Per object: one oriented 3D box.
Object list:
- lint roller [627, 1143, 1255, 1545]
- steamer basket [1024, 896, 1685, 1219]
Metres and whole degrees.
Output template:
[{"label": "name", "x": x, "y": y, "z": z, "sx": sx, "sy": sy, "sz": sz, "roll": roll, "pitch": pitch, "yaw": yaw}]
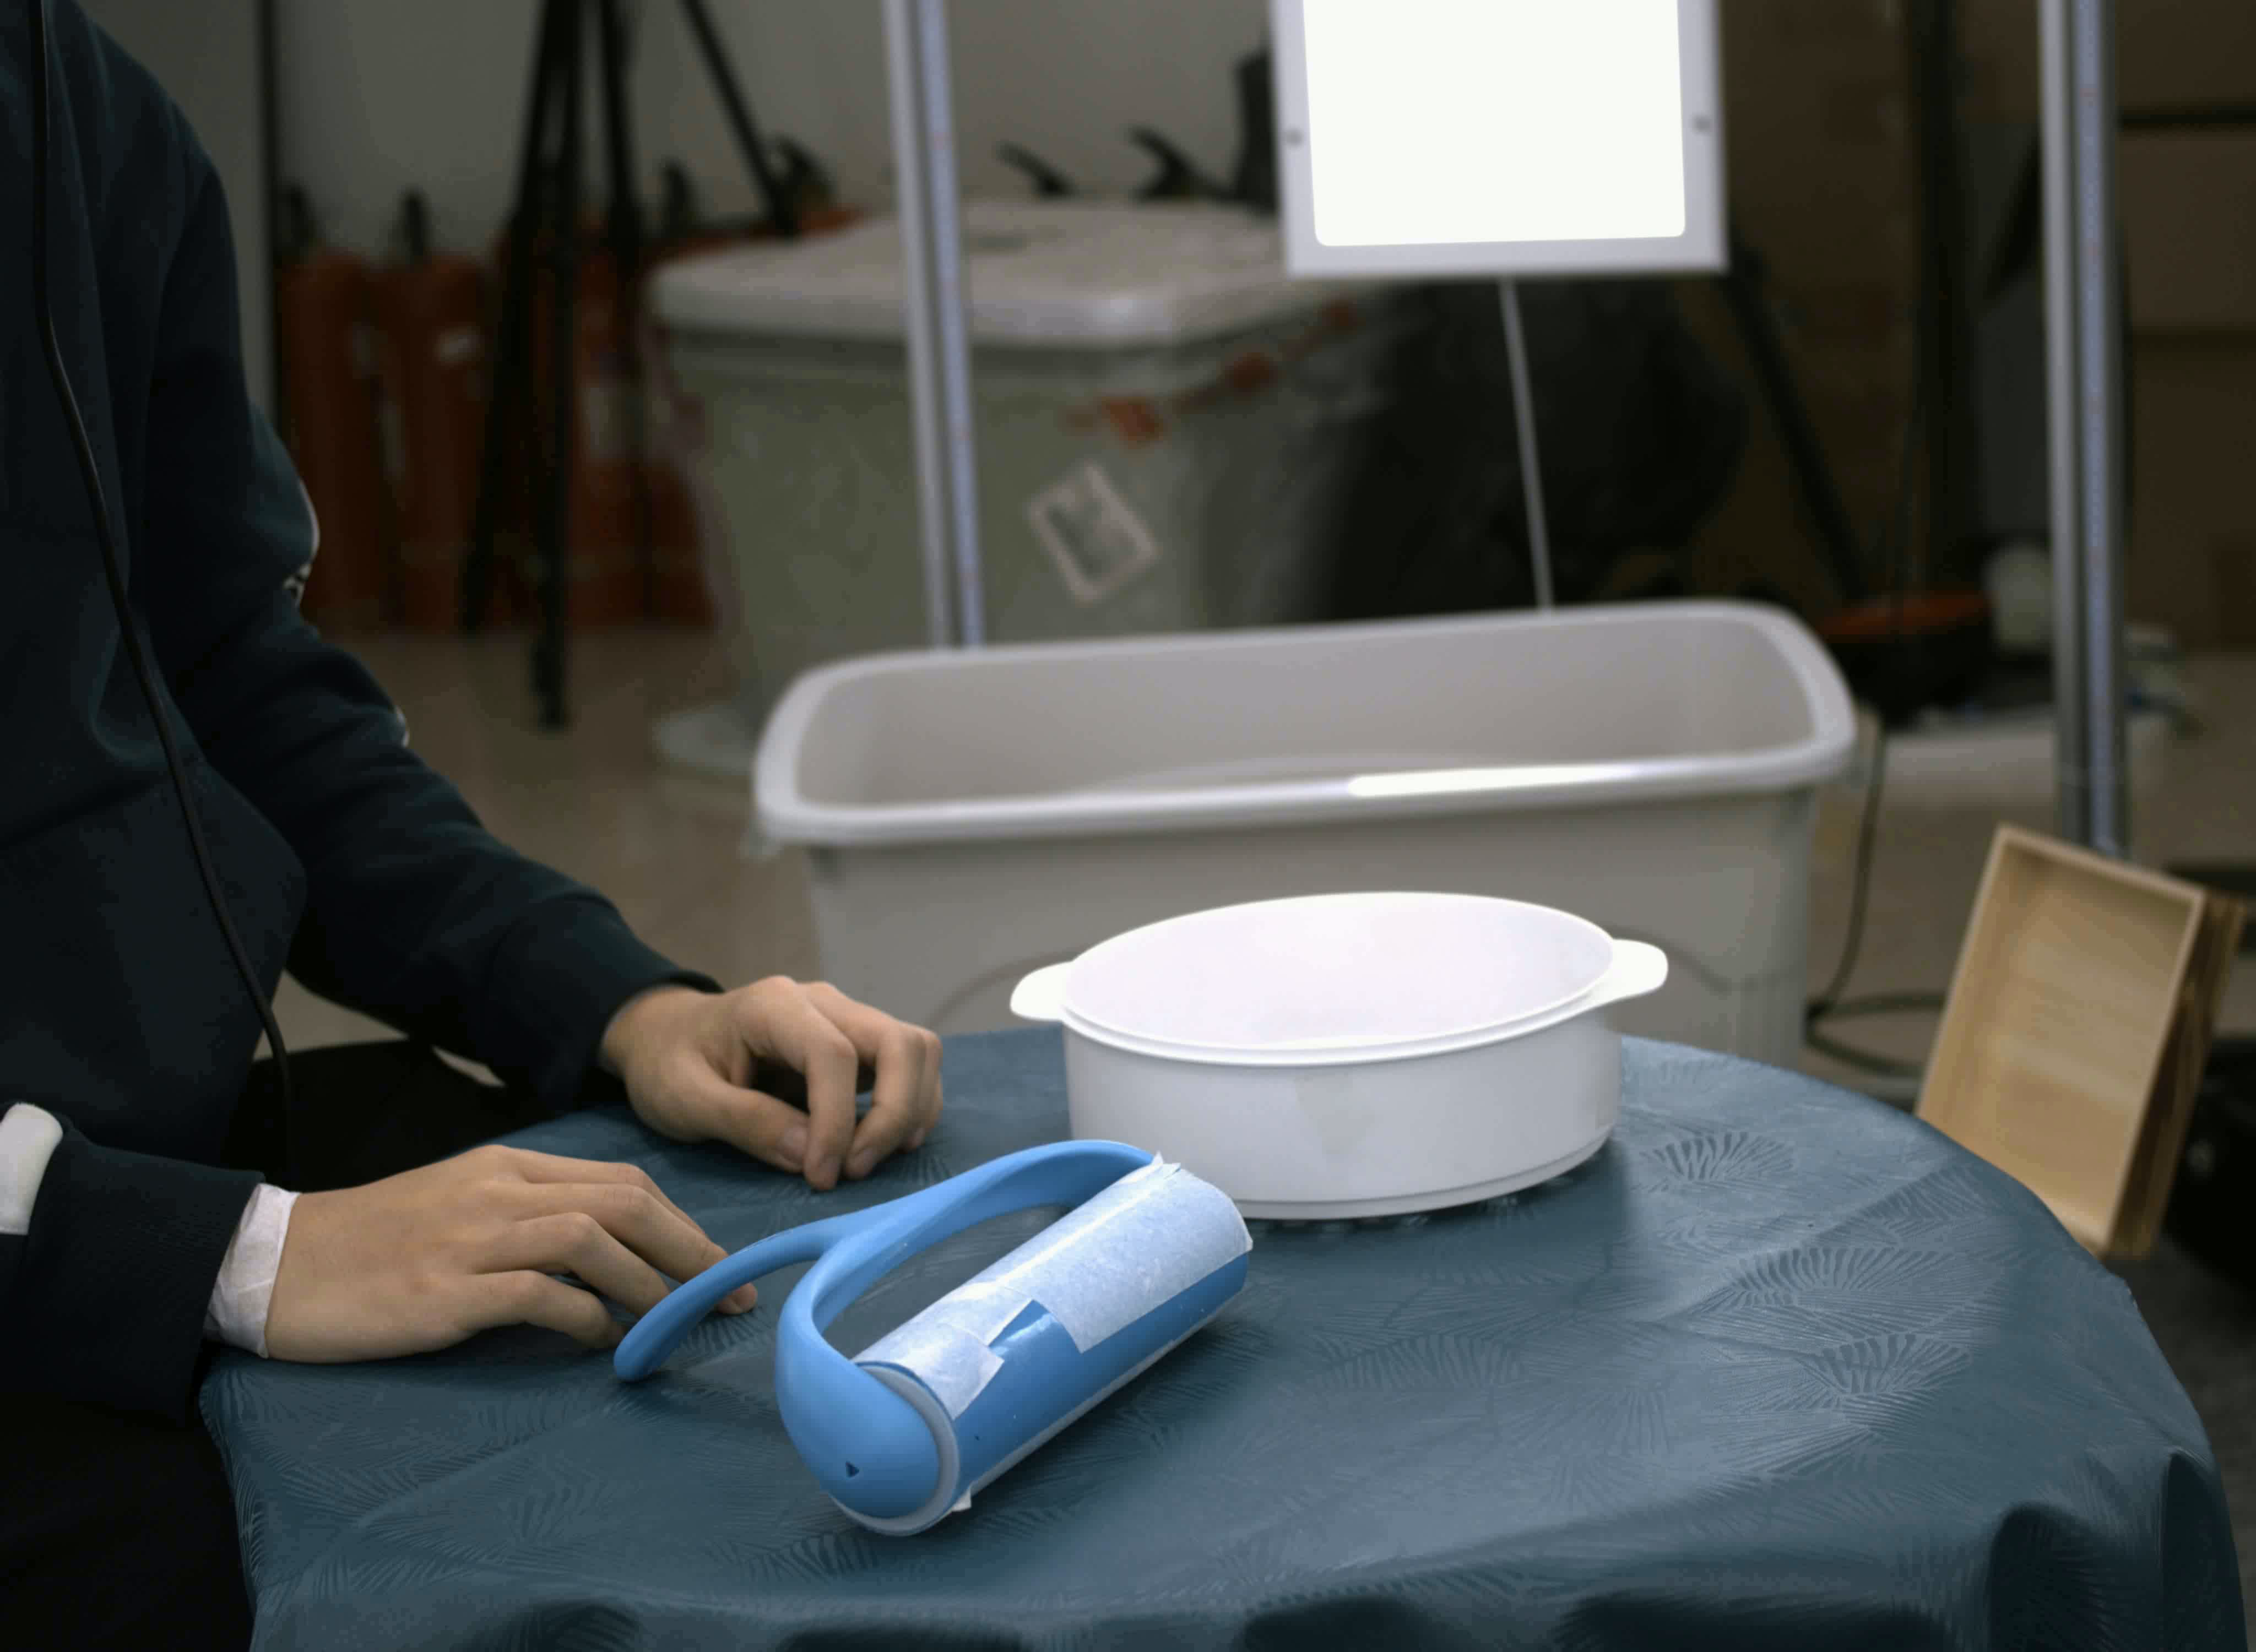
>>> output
[{"label": "lint roller", "x": -0.078, "y": 0.154, "z": 1.696, "sx": 0.183, "sy": 0.068, "sz": 0.224, "roll": 2, "pitch": 18, "yaw": 24}, {"label": "steamer basket", "x": 0.081, "y": 0.080, "z": 1.910, "sx": 0.232, "sy": 0.069, "sz": 0.200, "roll": -4, "pitch": 13, "yaw": 9}]
